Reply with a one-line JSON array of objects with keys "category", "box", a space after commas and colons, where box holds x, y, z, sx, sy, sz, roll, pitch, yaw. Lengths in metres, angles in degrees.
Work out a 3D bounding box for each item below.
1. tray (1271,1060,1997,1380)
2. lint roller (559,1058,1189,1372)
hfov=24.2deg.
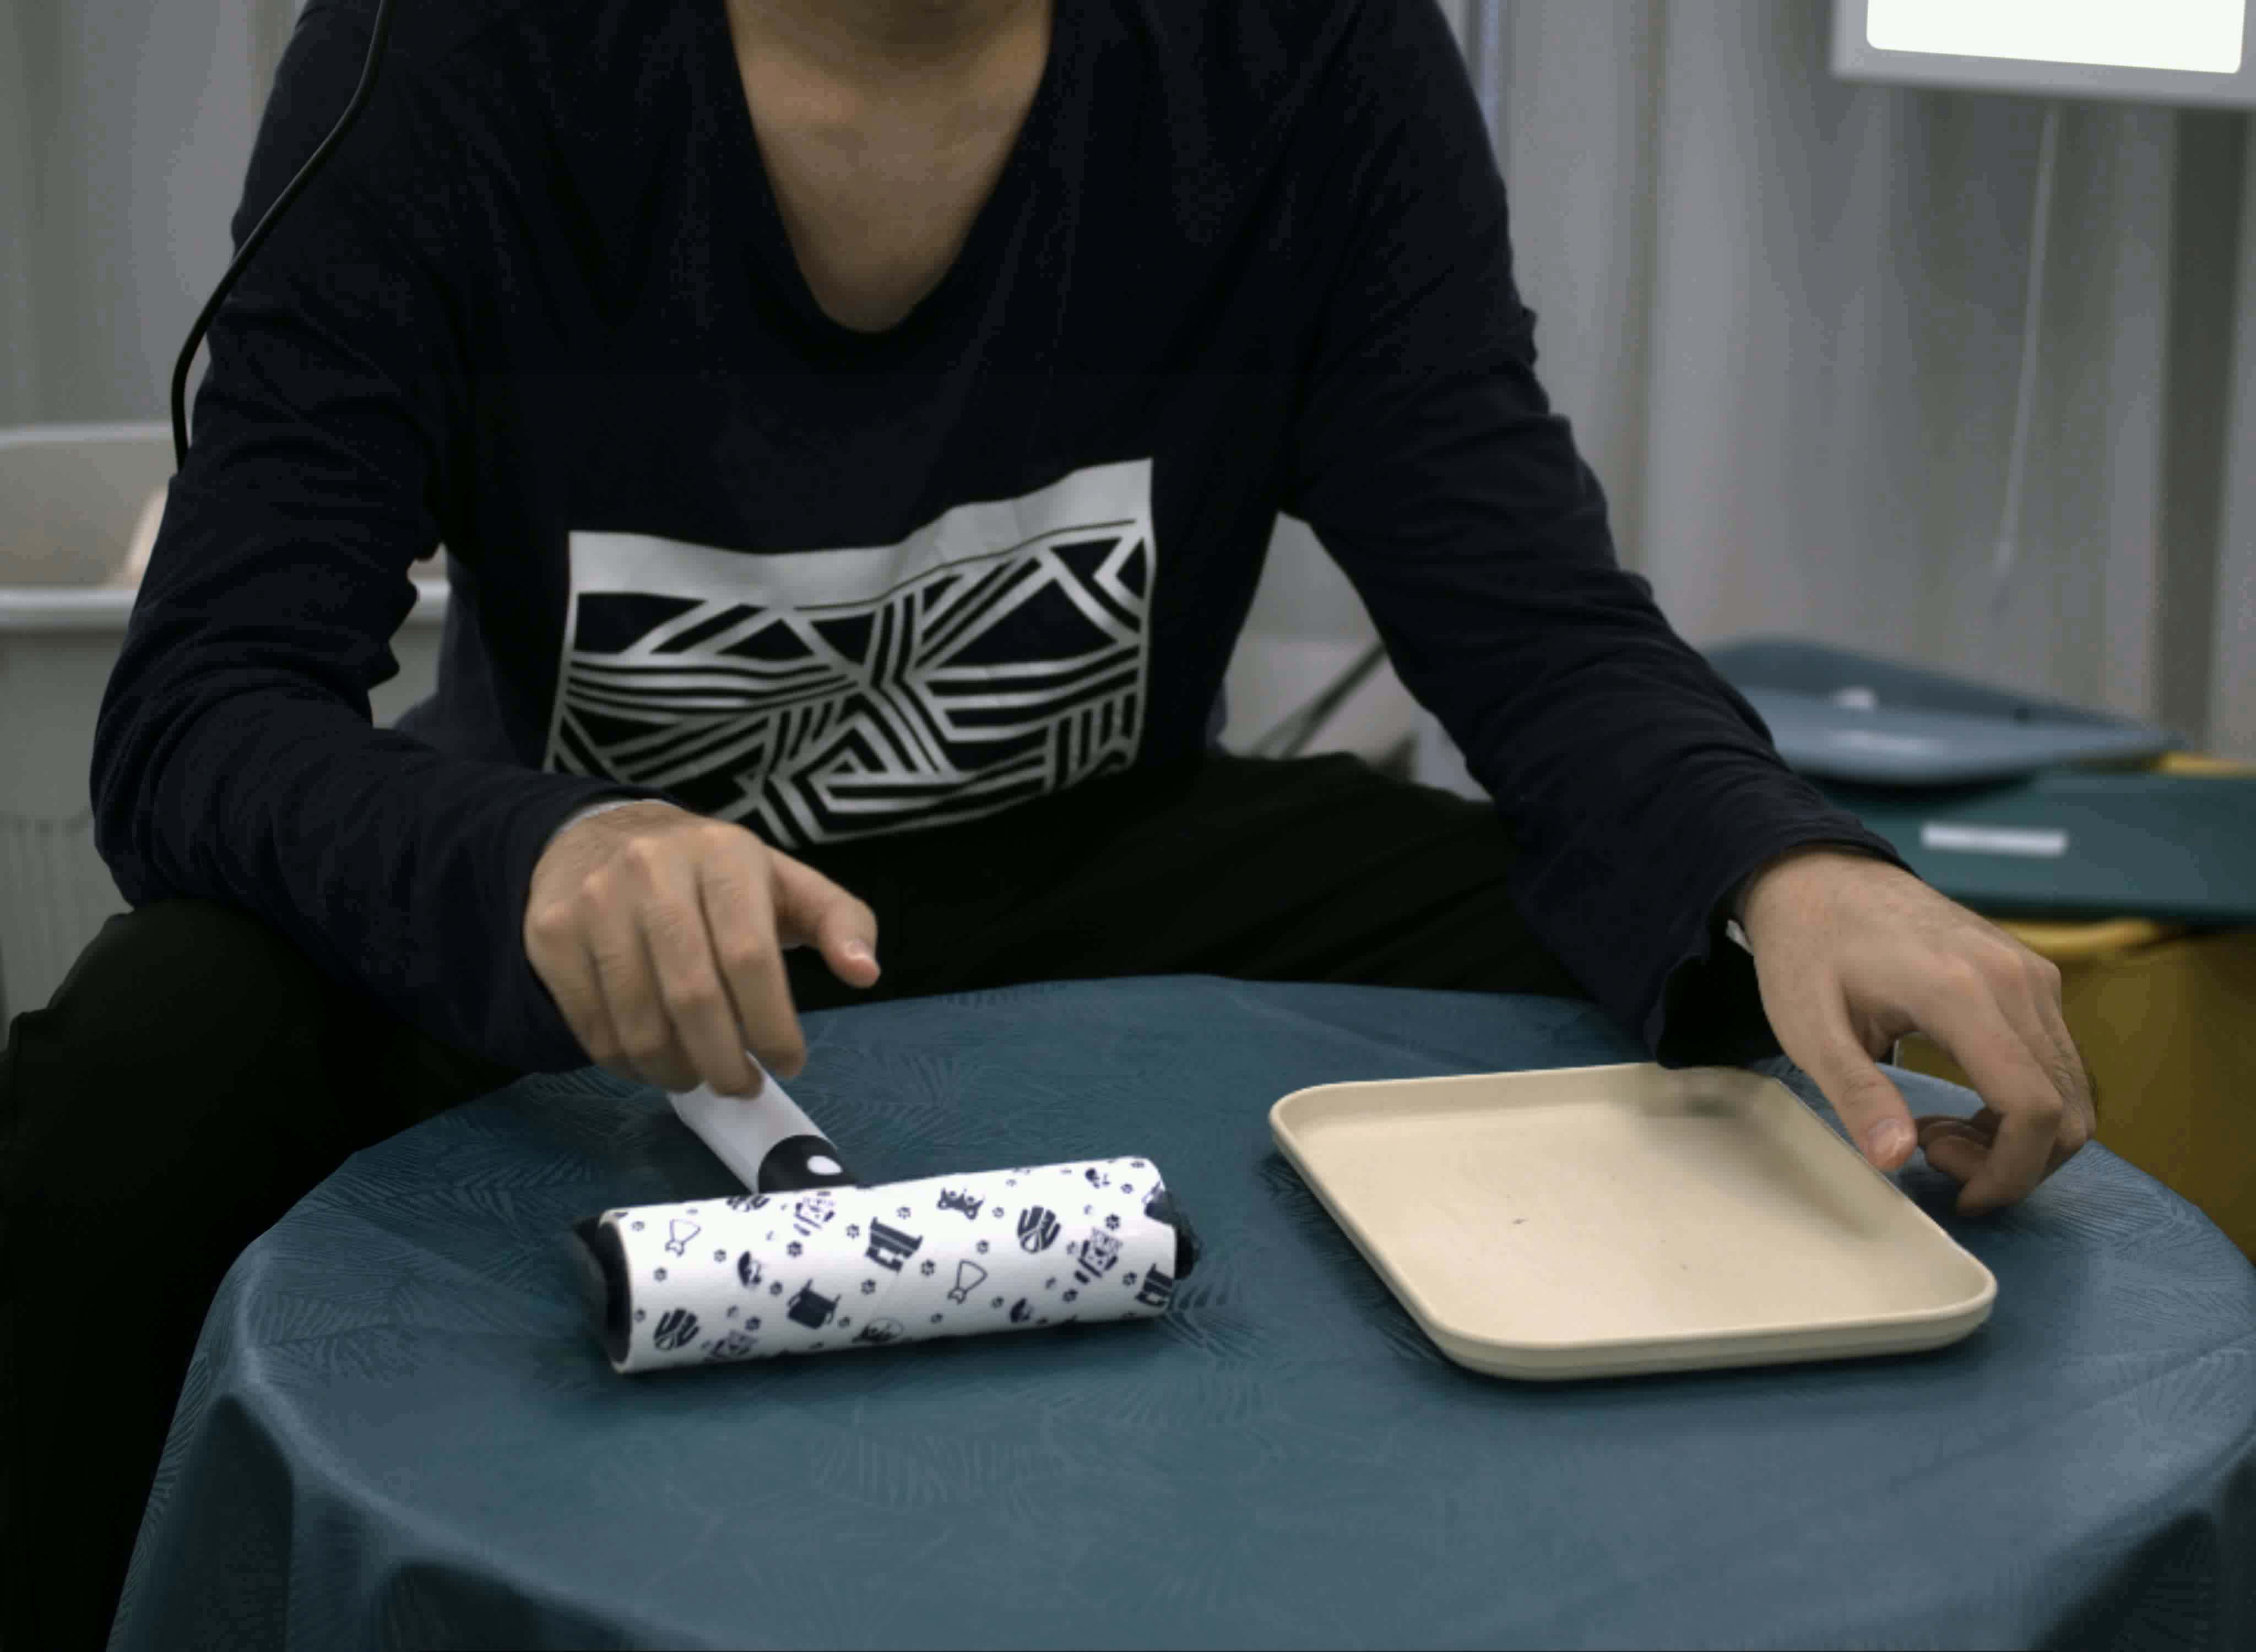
[{"category": "tray", "box": [0.146, 0.116, 1.581, 0.171, 0.017, 0.237, -3, 16, -12]}, {"category": "lint roller", "box": [-0.104, 0.102, 1.583, 0.177, 0.051, 0.244, -6, 14, -19]}]
